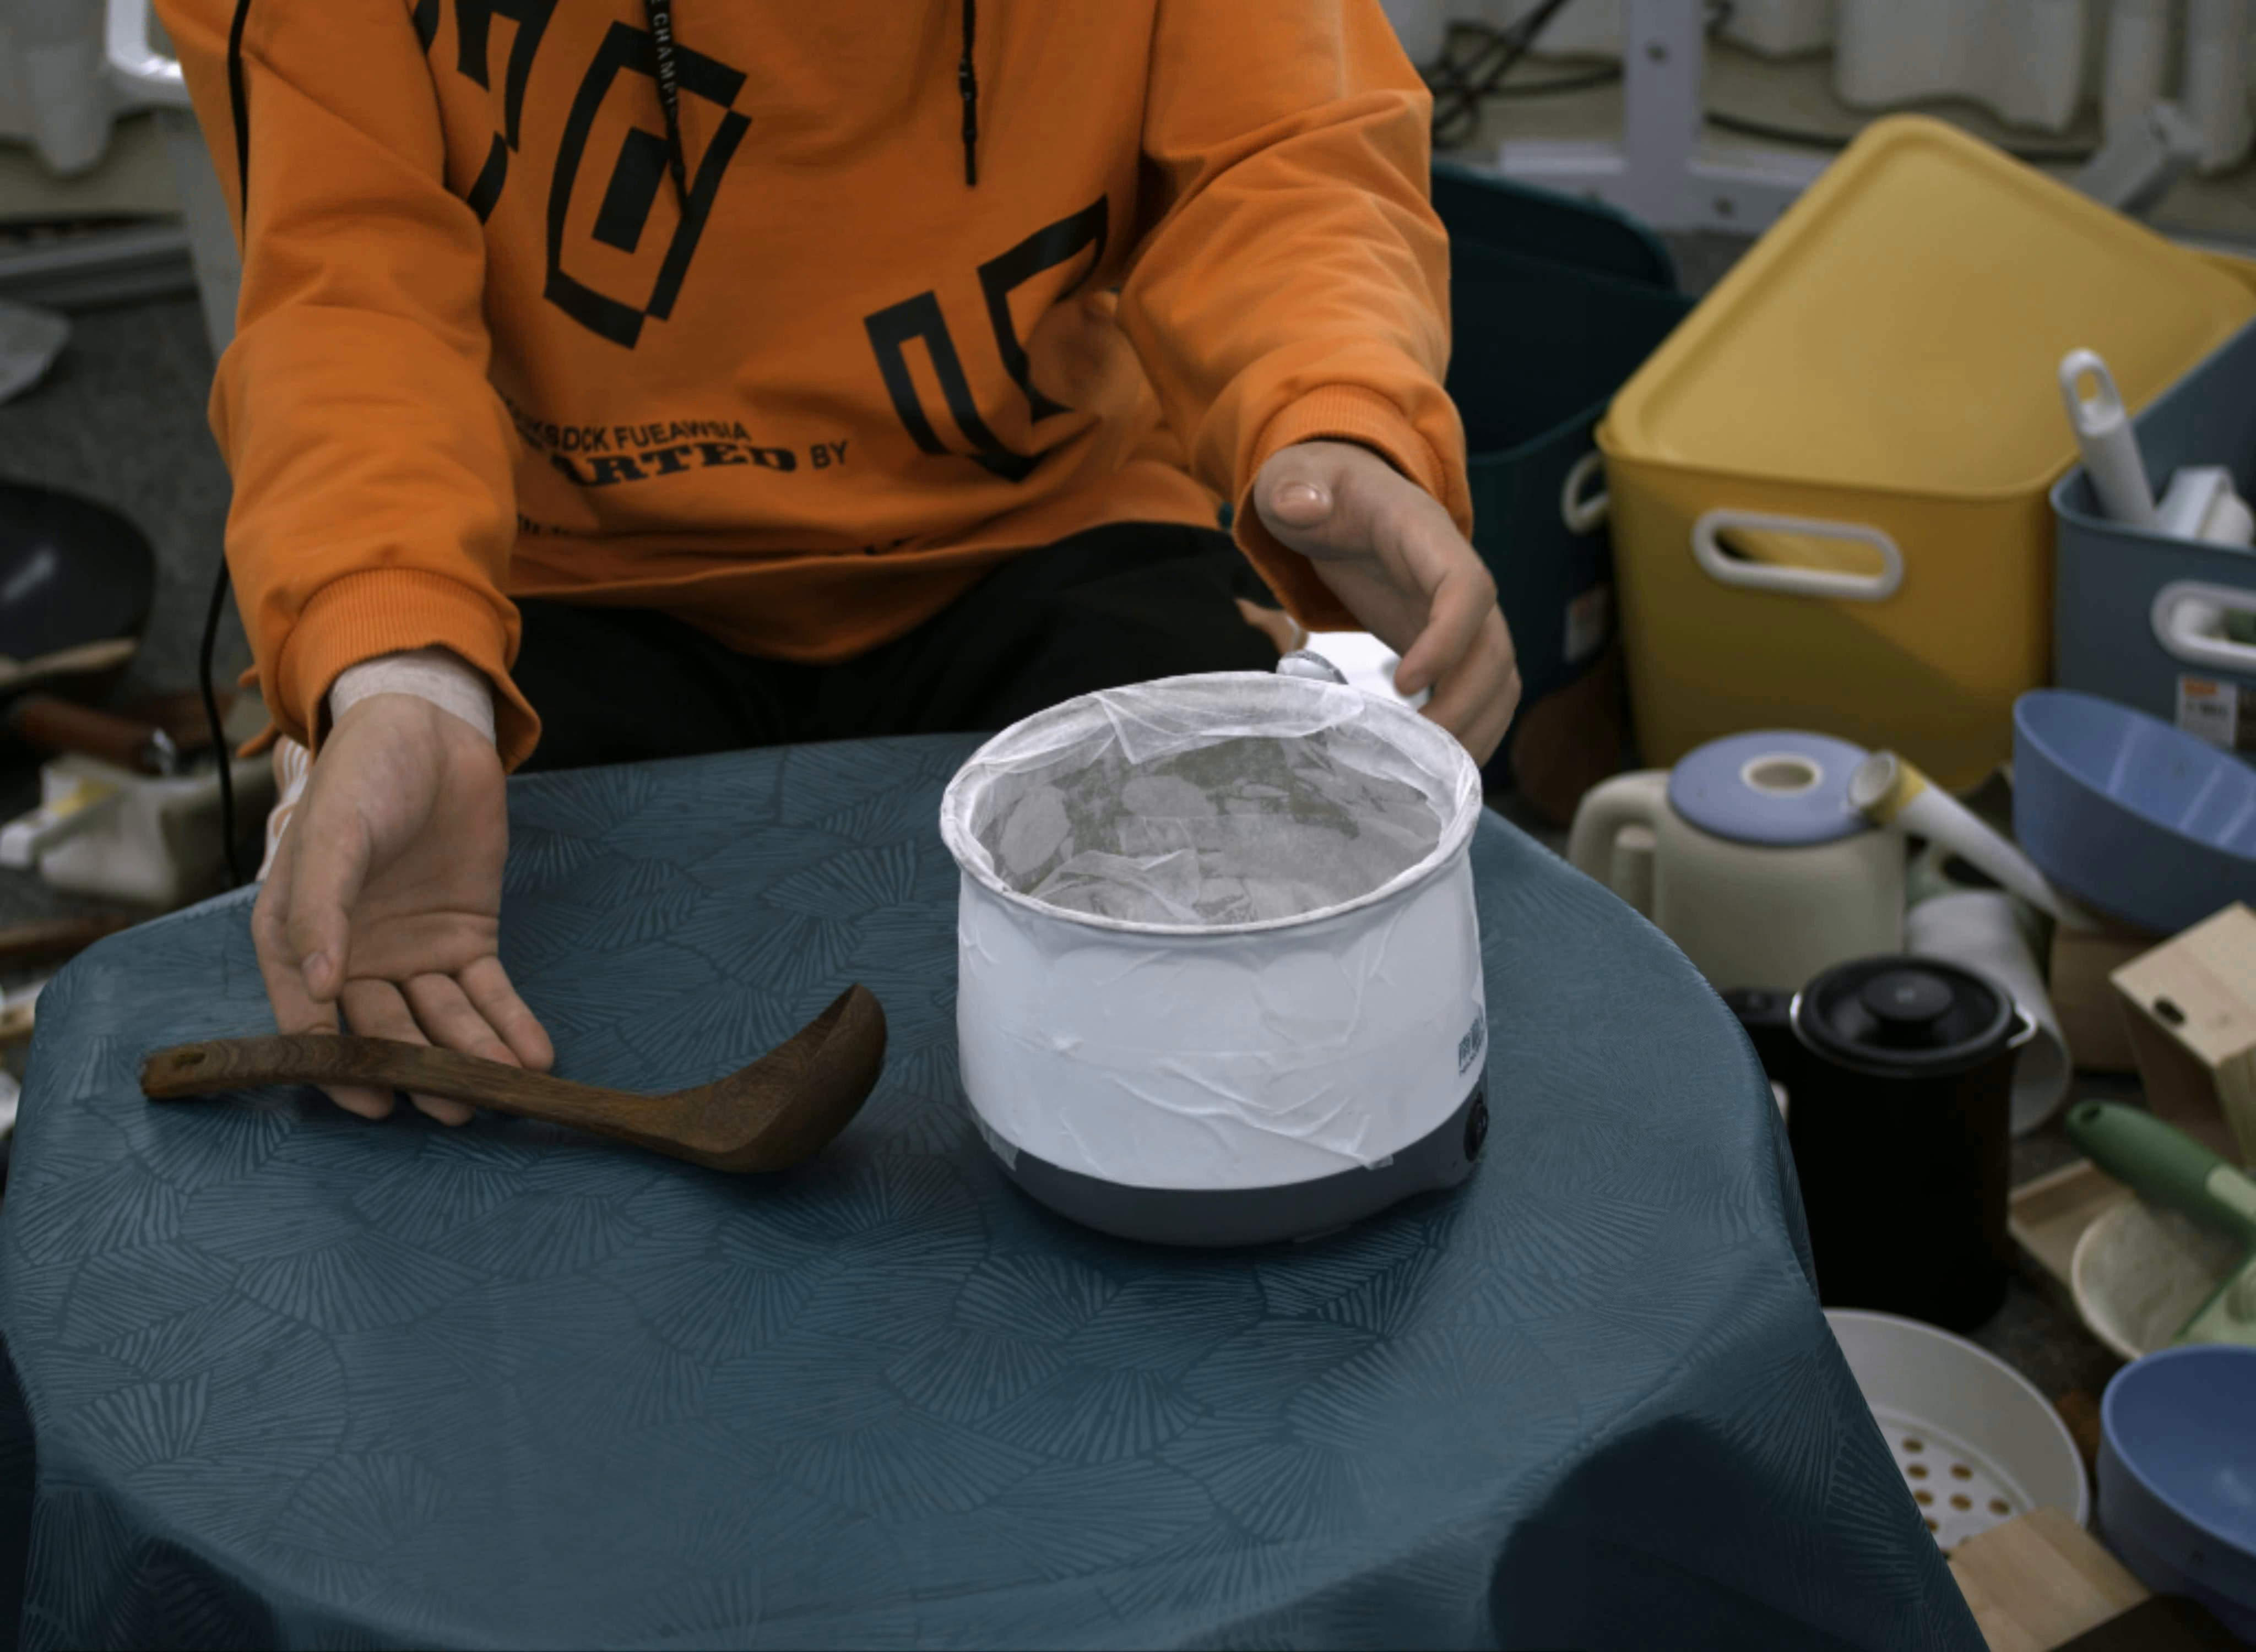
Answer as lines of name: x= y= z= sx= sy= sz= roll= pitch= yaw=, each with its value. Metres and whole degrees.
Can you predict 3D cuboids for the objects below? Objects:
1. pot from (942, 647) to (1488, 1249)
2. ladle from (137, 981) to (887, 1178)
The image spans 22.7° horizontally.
pot: x=0.038 y=0.033 z=1.881 sx=0.177 sy=0.135 sz=0.238 roll=6 pitch=29 yaw=16
ladle: x=-0.212 y=0.074 z=1.900 sx=0.272 sy=0.070 sz=0.077 roll=7 pitch=28 yaw=16
